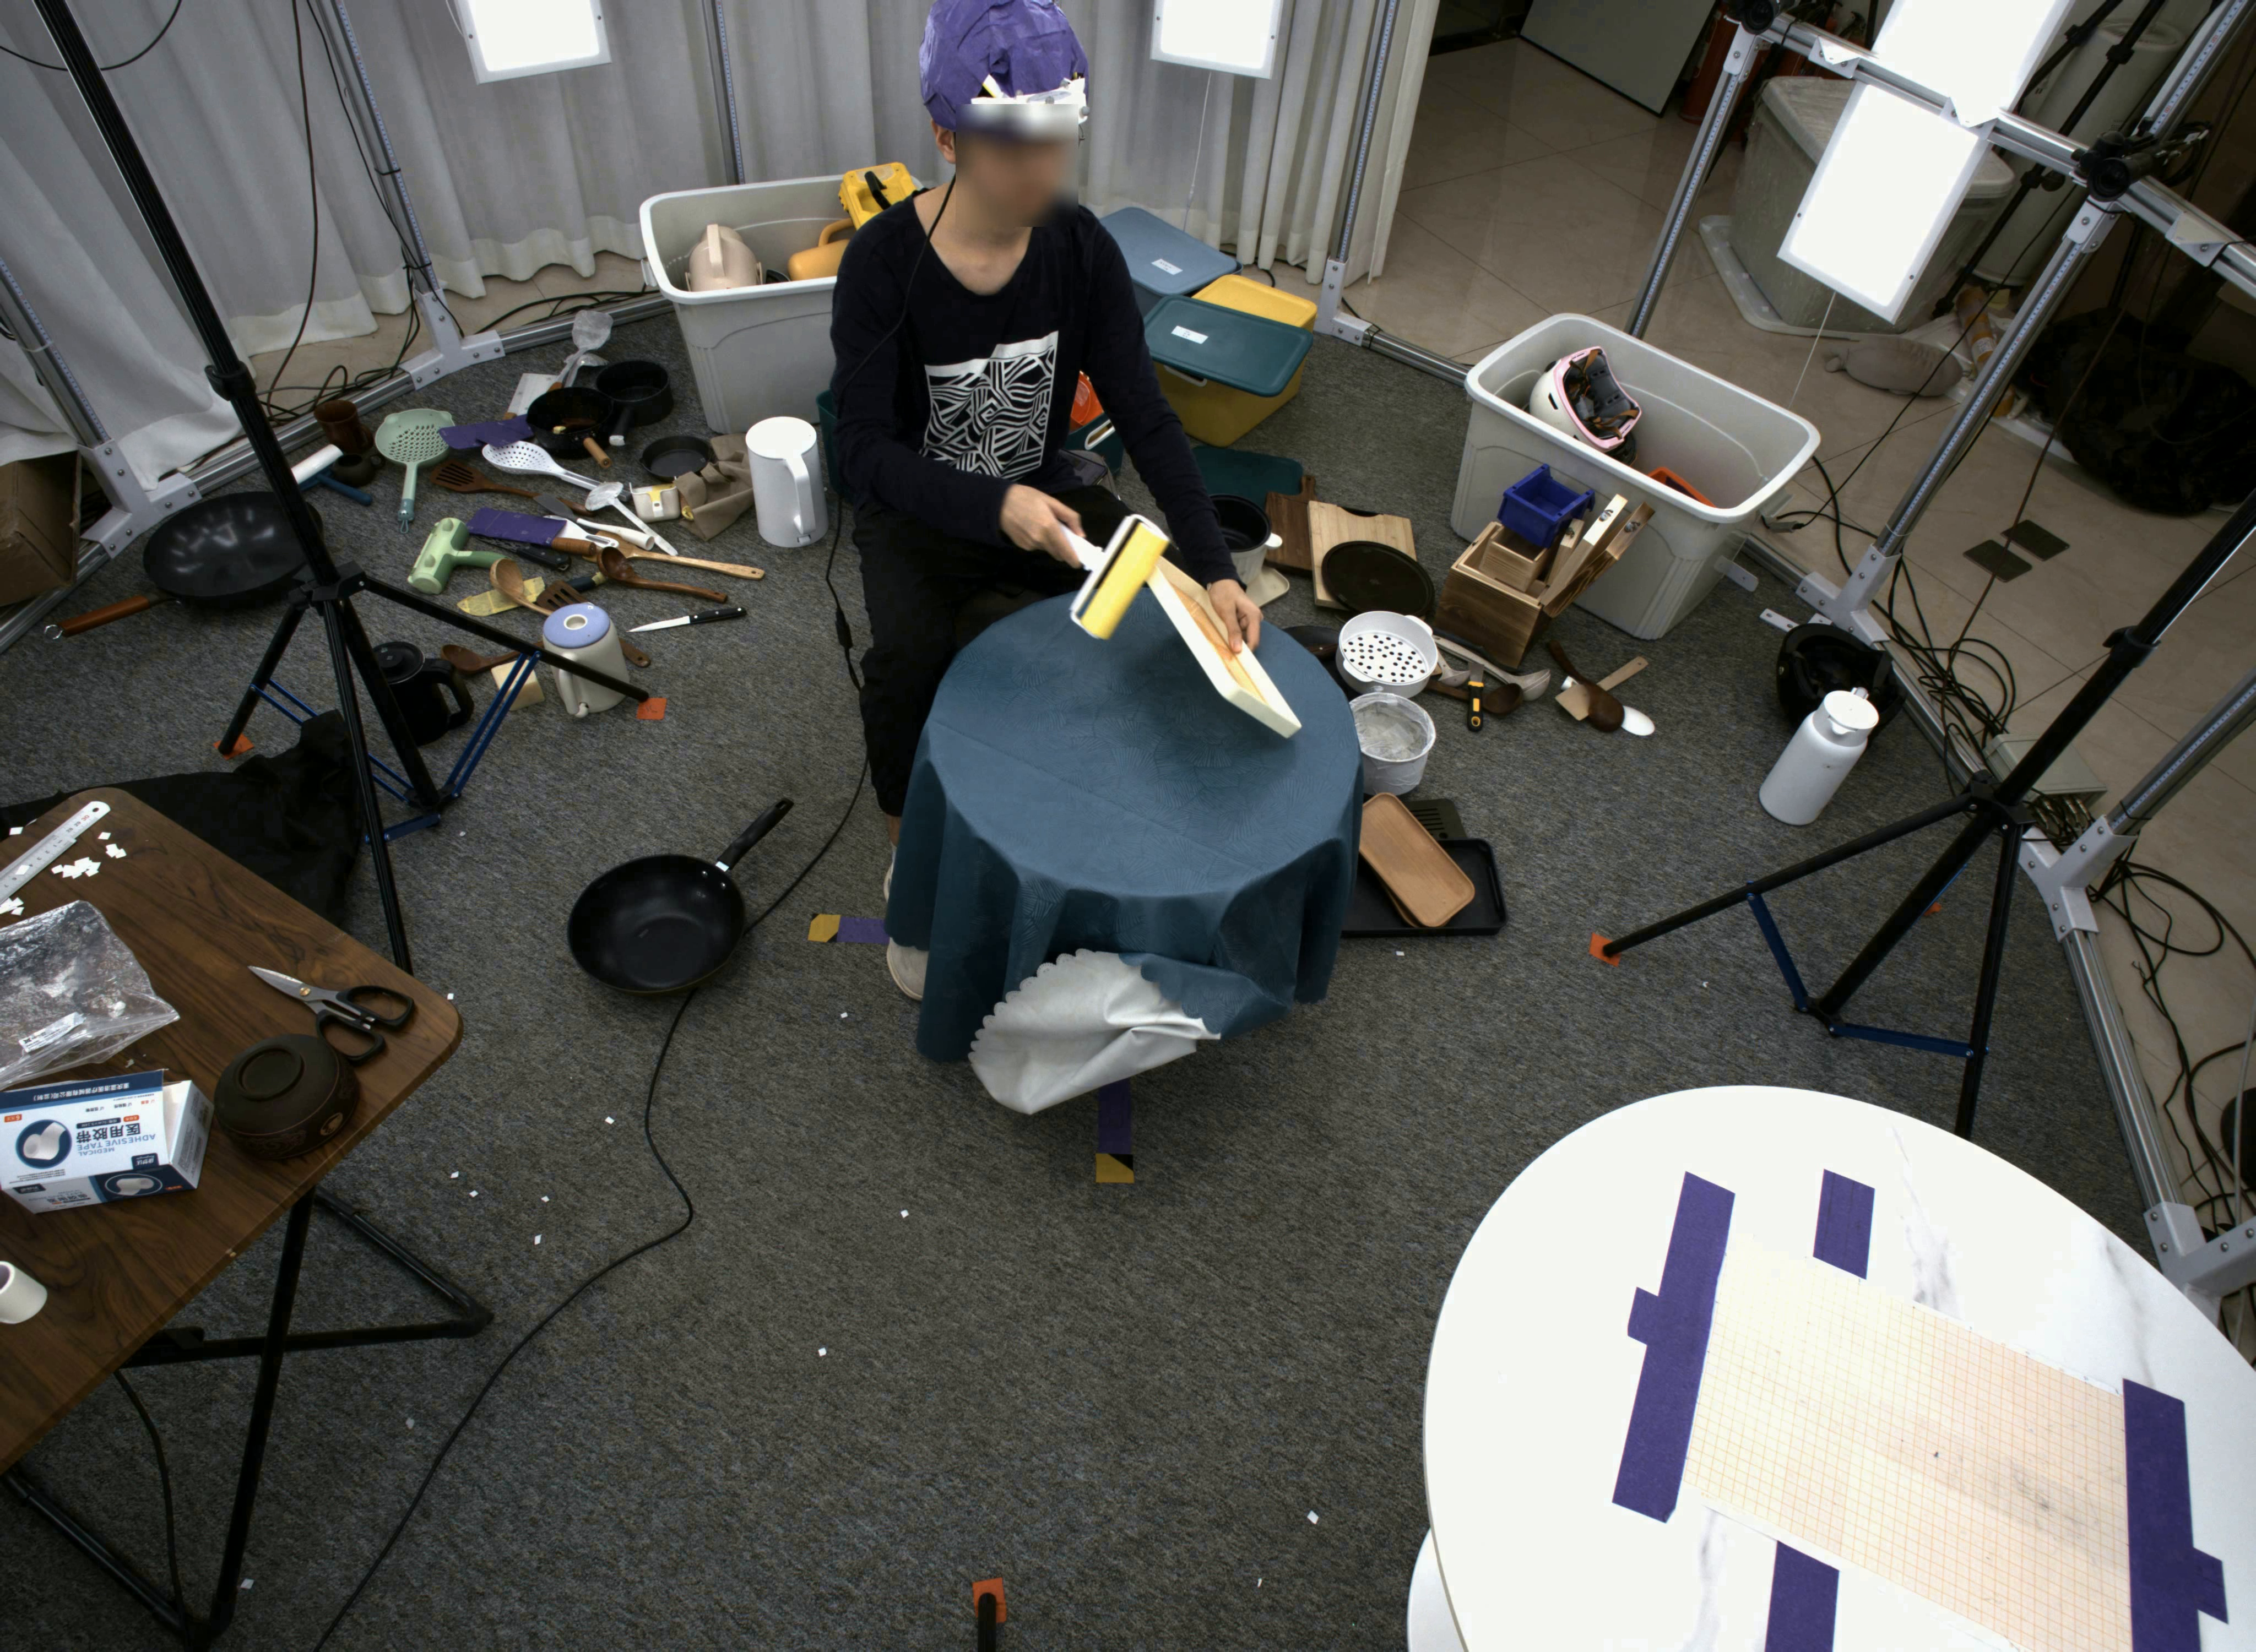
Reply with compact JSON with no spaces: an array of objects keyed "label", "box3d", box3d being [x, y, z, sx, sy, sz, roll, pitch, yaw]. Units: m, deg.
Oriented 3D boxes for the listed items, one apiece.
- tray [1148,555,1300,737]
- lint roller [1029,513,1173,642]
[{"label":"tray","box3d":[0.120,-0.259,1.781,0.027,0.188,0.307,-42,53,18]},{"label":"lint roller","box3d":[-0.059,-0.372,1.765,0.192,0.172,0.052,33,16,6]}]
